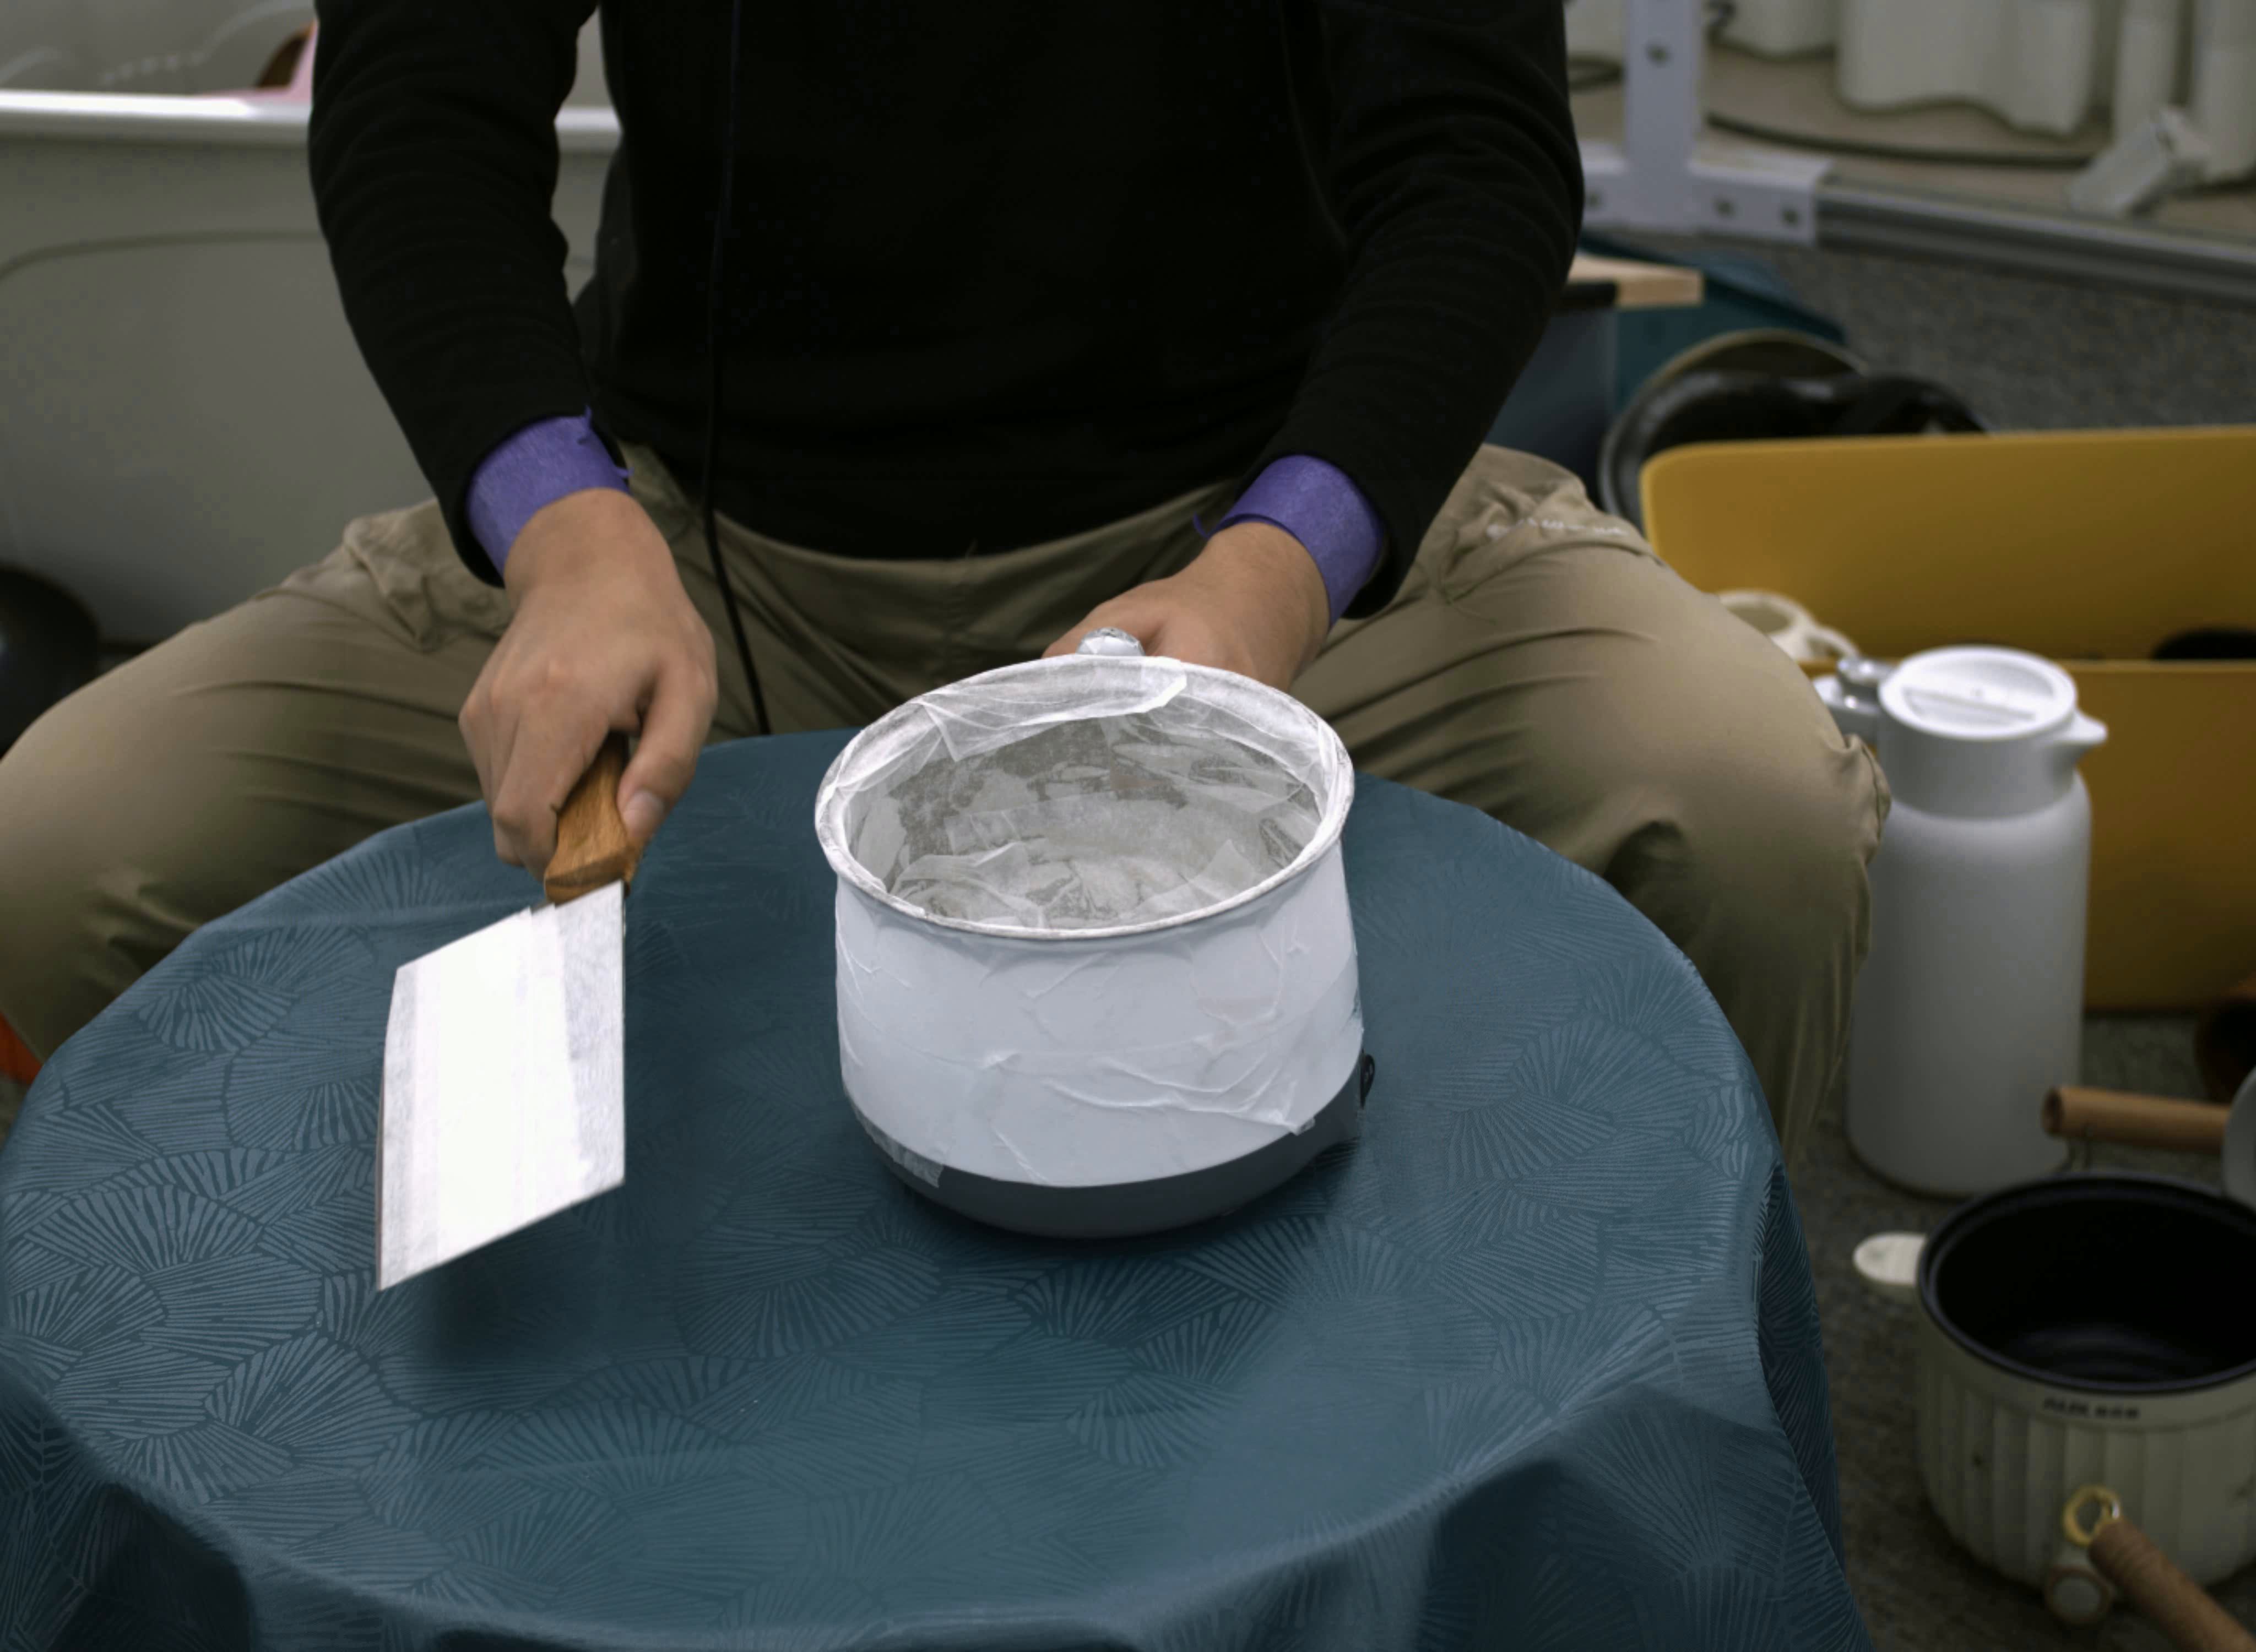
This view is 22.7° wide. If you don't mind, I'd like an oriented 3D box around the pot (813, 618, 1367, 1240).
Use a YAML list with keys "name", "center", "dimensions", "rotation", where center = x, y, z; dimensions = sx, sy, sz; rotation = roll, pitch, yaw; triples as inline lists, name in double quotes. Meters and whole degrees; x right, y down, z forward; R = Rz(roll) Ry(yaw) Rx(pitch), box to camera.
- name: "pot"
  center: [-0.010, 0.026, 1.883]
  dimensions: [0.178, 0.135, 0.238]
  rotation: [-1, 31, 3]

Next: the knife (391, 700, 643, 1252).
- name: "knife"
  center: [-0.206, 0.050, 1.889]
  dimensions: [0.092, 0.021, 0.310]
  rotation: [-23, 29, 8]
